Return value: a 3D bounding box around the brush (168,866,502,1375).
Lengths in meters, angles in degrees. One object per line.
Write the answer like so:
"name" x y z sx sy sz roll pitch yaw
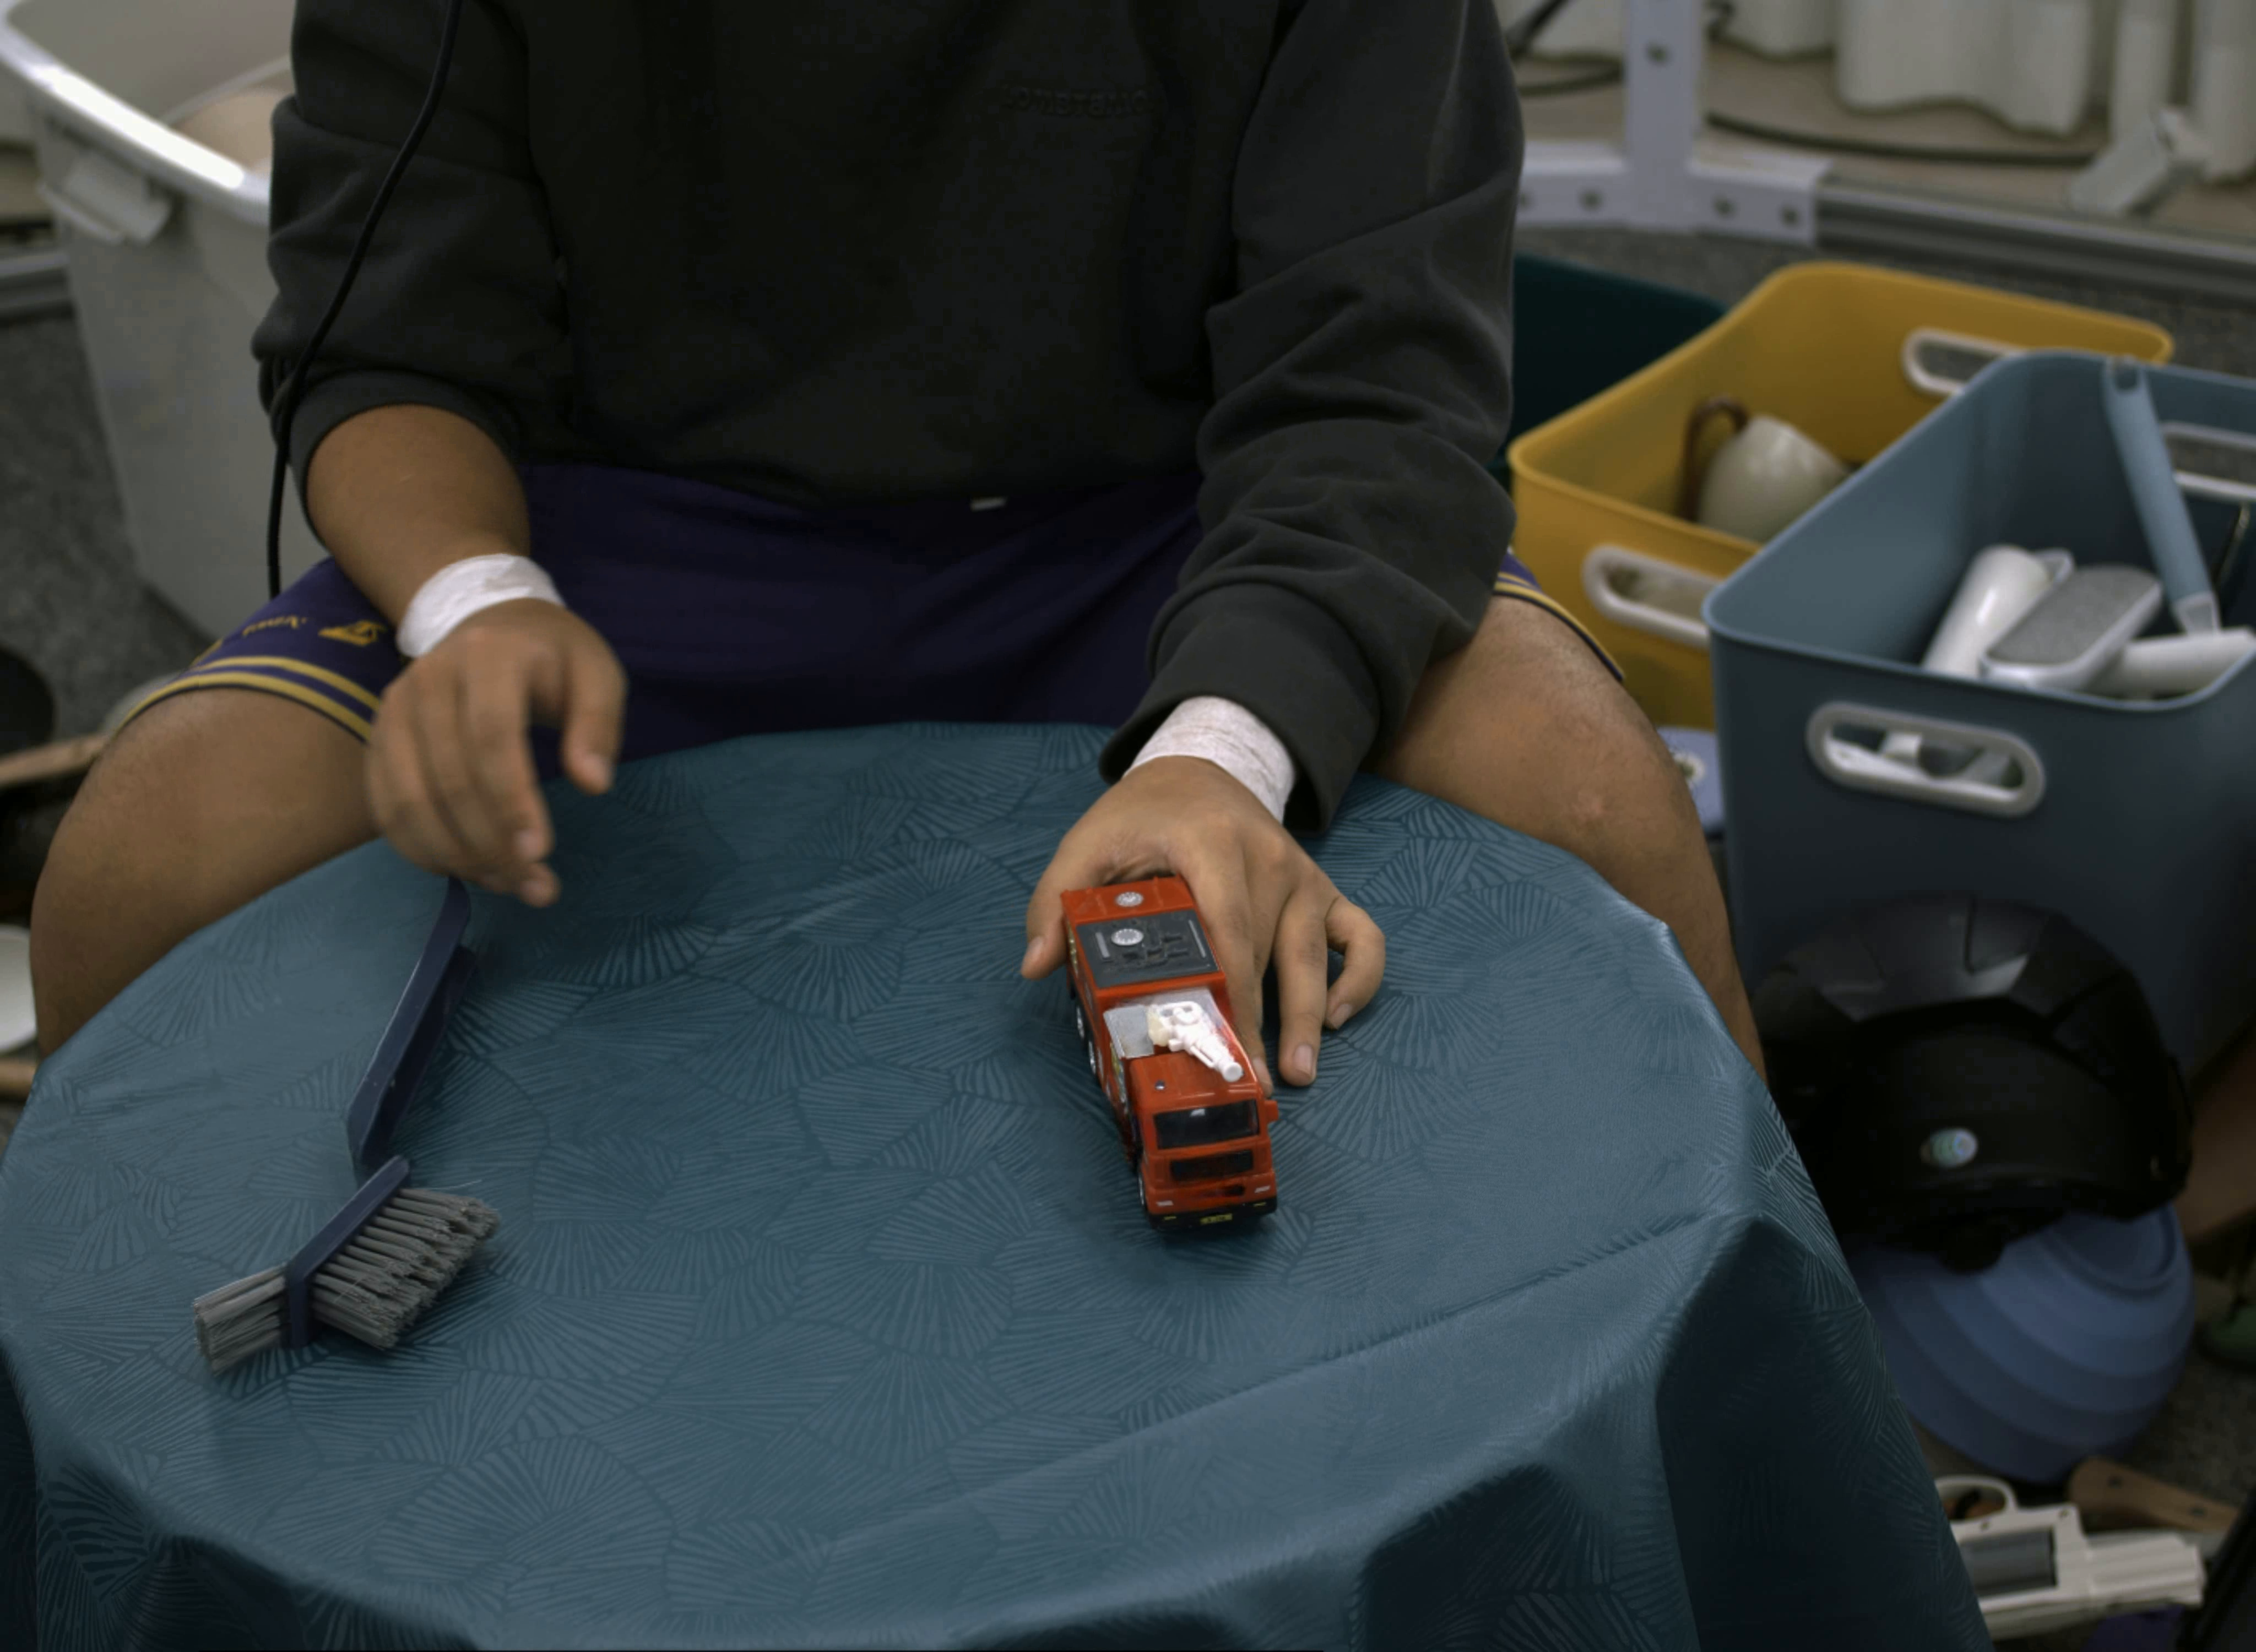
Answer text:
"brush" -0.260 0.096 1.903 0.095 0.033 0.277 -4 28 1

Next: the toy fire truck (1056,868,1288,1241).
"toy fire truck" 0.014 0.075 1.887 0.054 0.069 0.170 -8 27 -9
